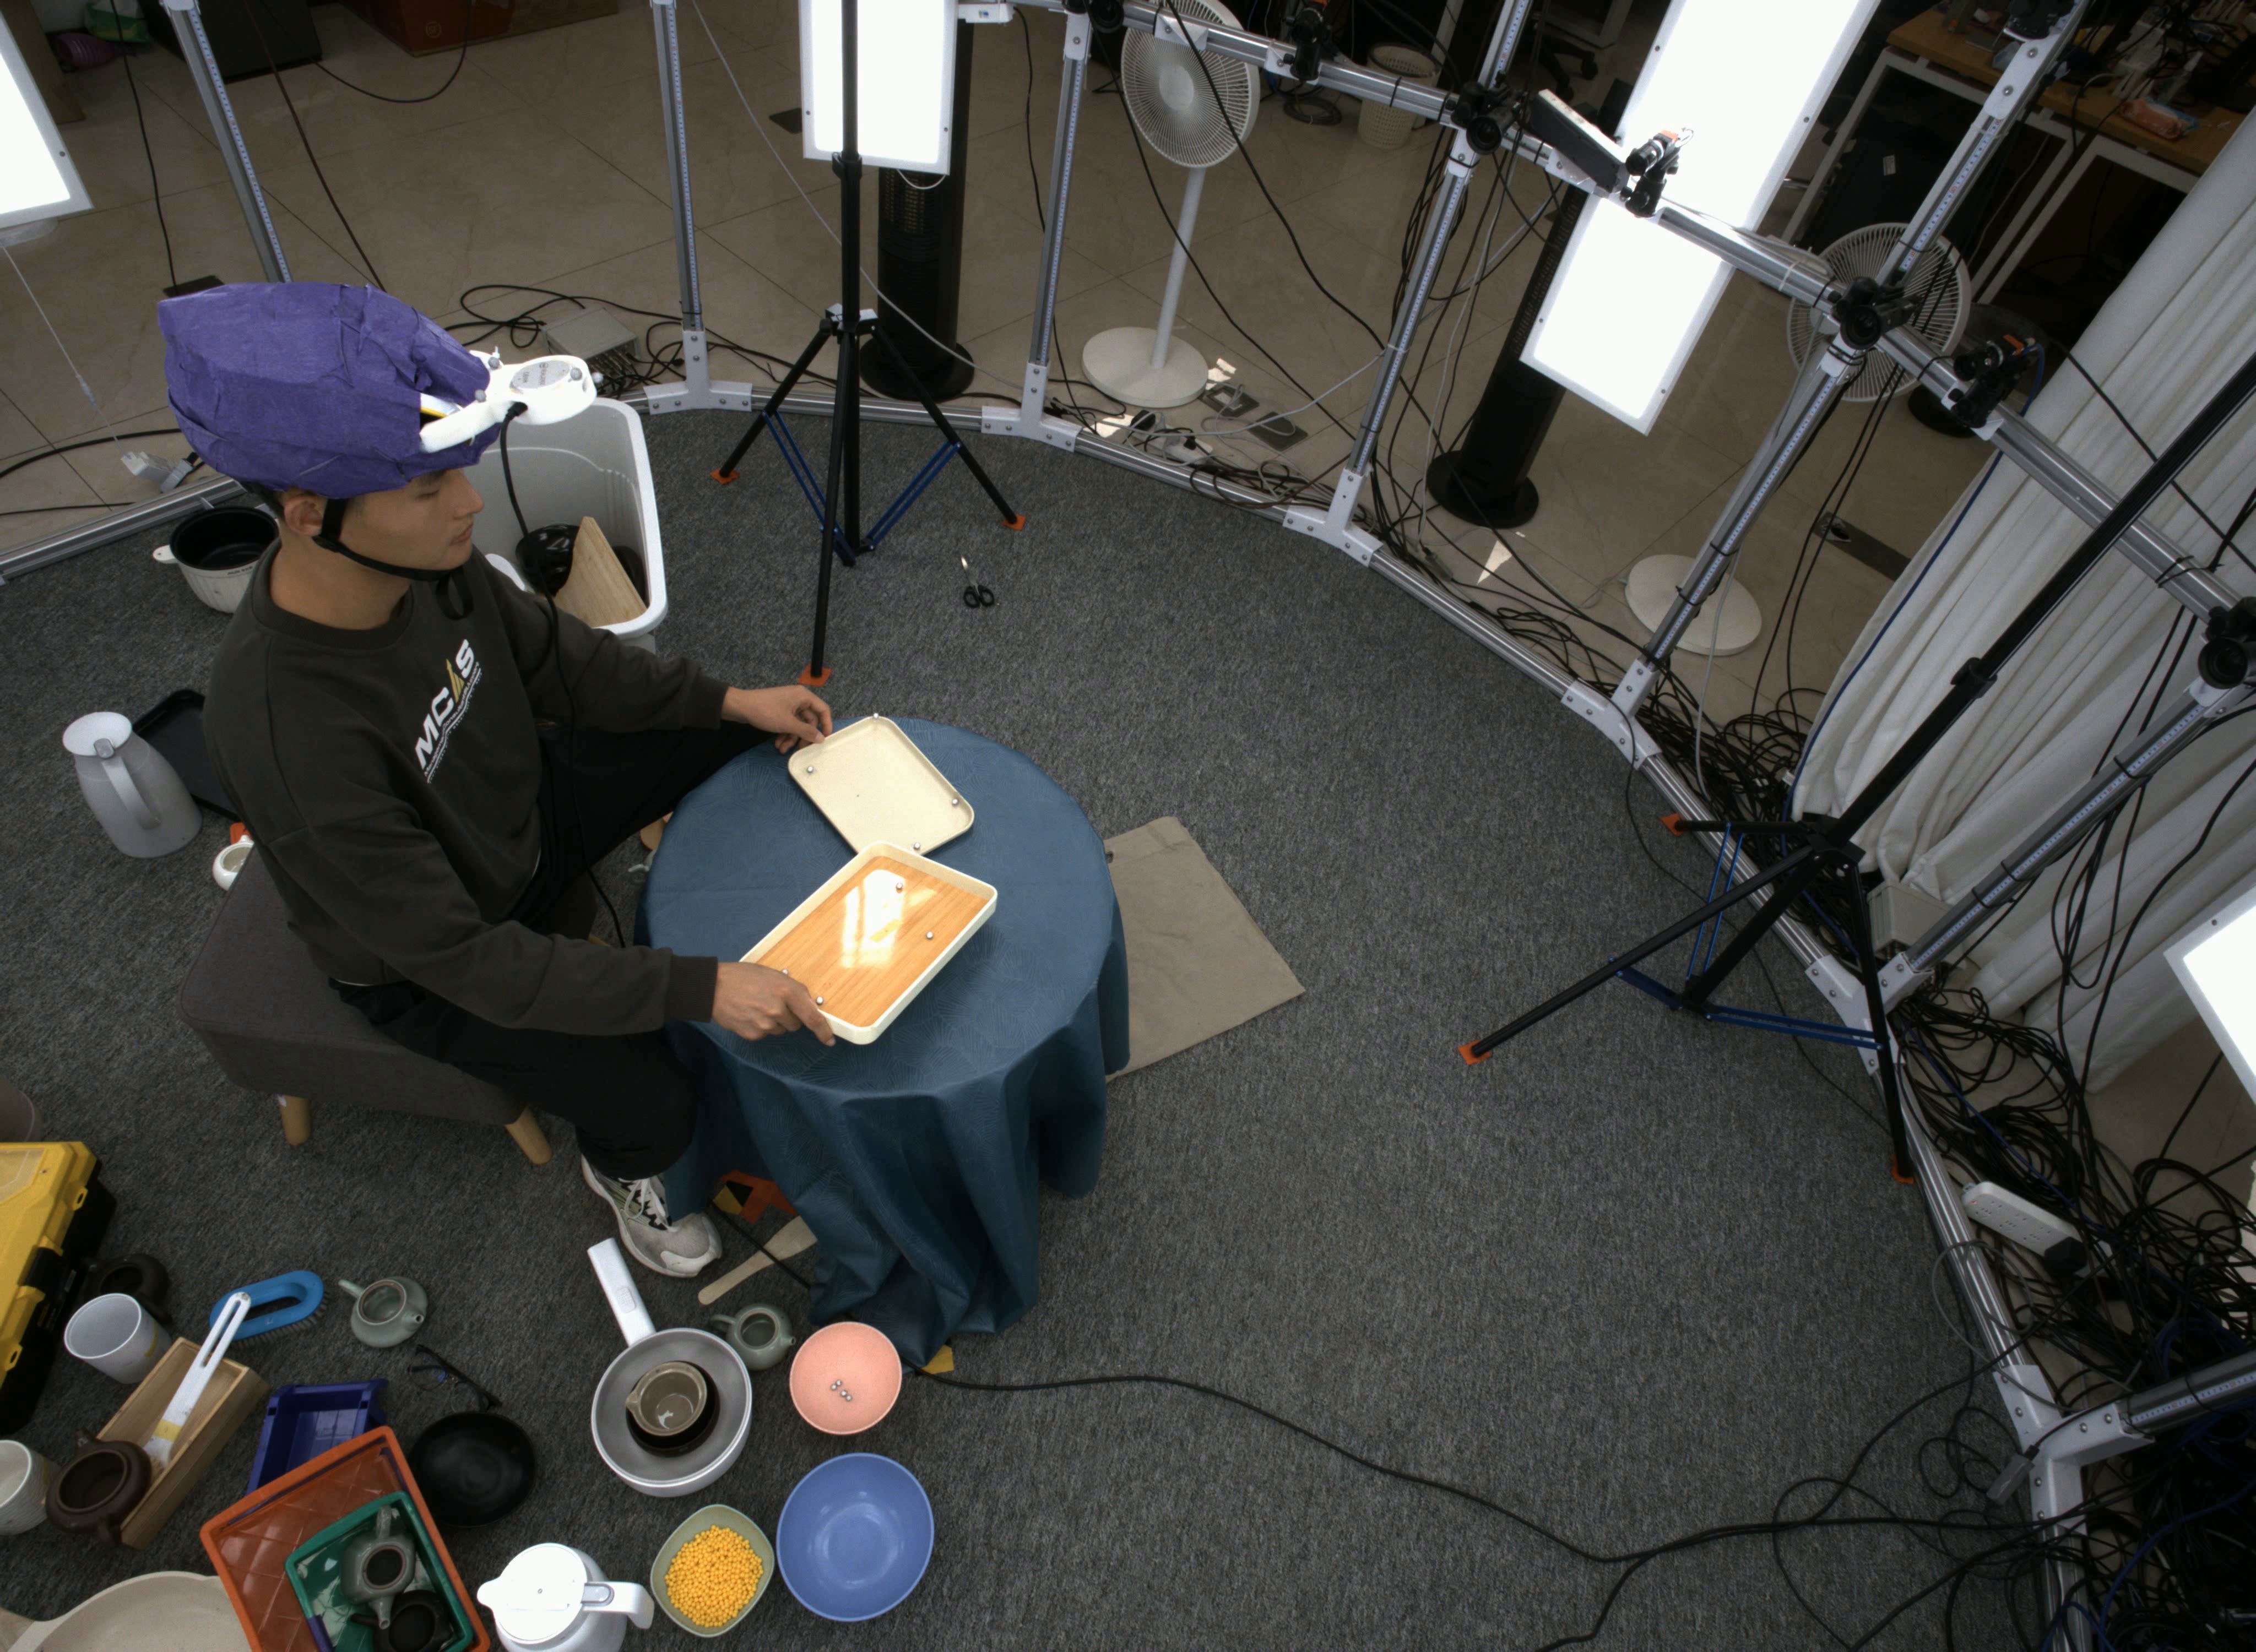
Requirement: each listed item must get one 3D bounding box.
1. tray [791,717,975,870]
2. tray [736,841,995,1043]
[{"bbox_3d":[-0.335,-0.045,1.779,0.172,0.018,0.234,-32,66,-30],"label":"tray"},{"bbox_3d":[-0.311,0.130,1.577,0.187,0.028,0.299,22,39,15],"label":"tray"}]
